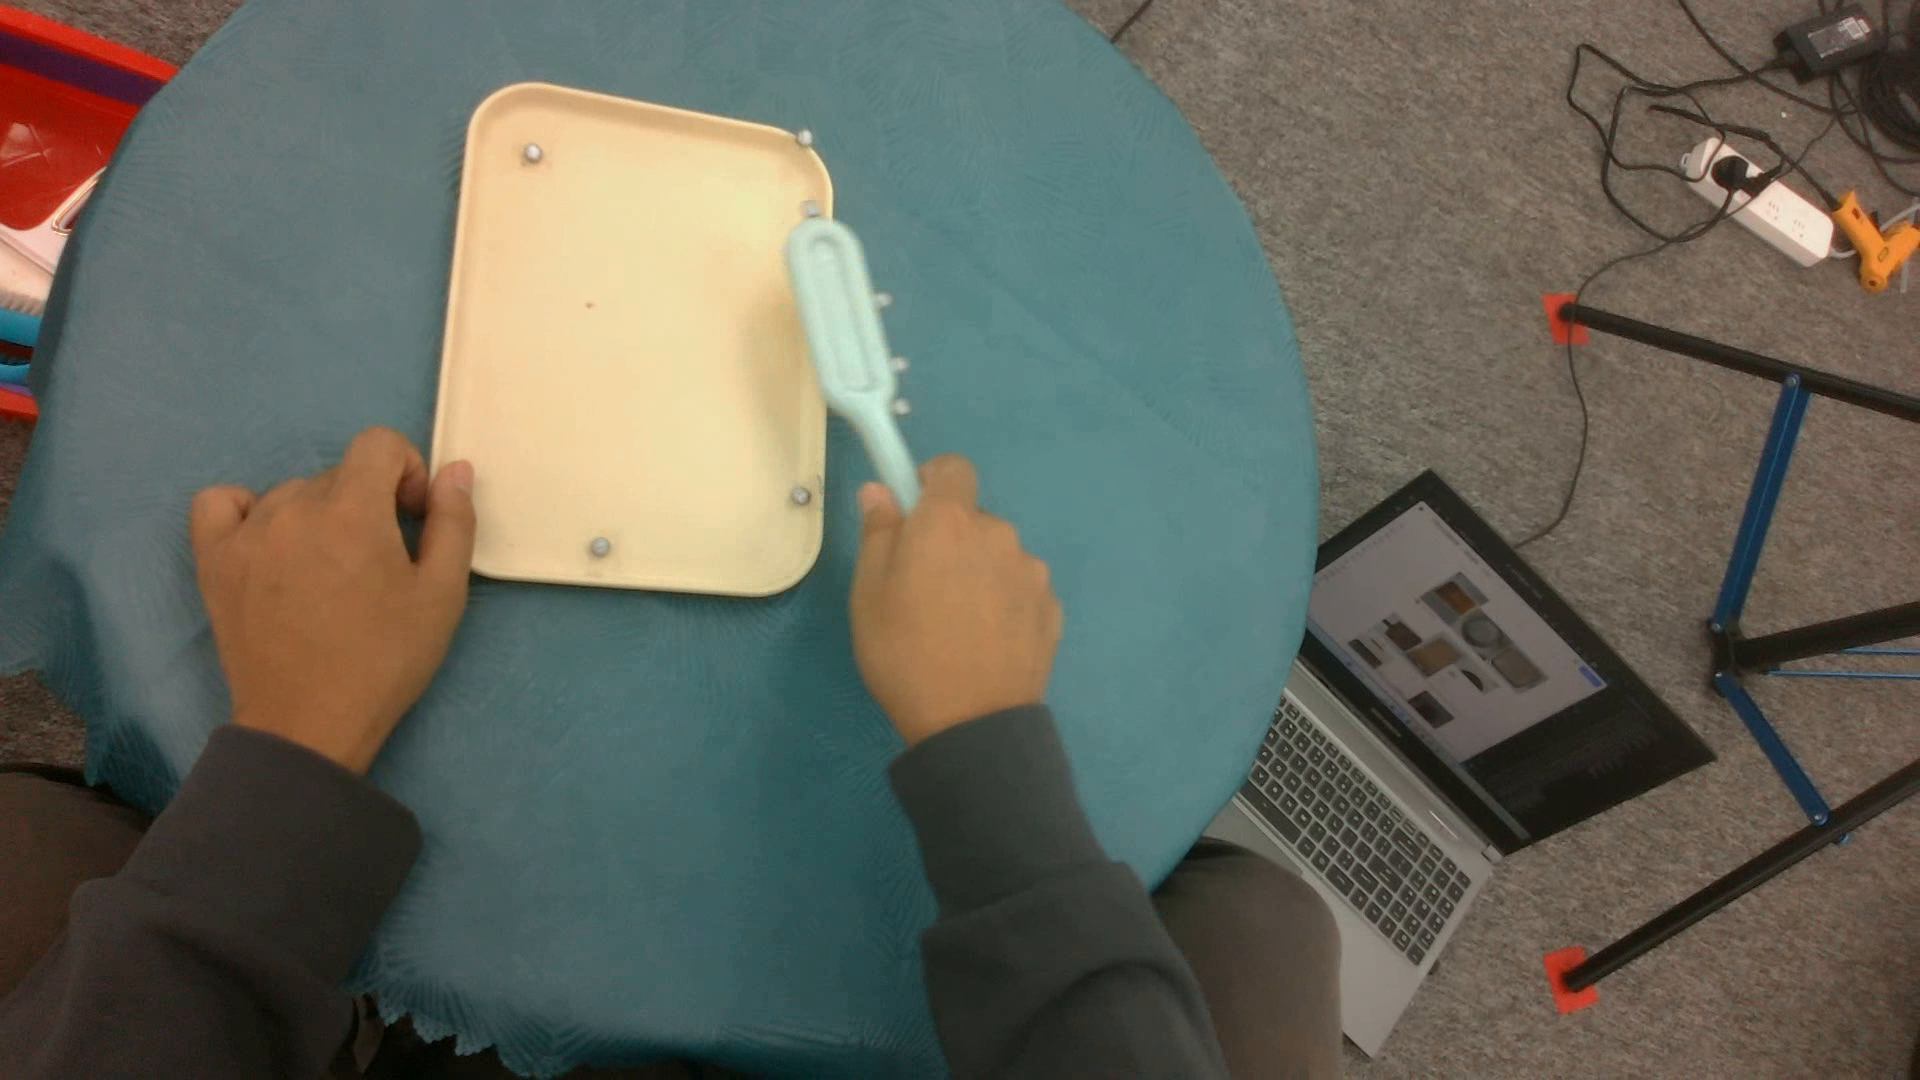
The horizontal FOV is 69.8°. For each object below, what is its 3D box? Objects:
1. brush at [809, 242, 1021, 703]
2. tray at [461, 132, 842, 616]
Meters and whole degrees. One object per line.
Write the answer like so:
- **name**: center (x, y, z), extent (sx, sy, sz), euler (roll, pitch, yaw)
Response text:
- **brush**: center (-0.021, -0.032, 0.631), extent (0.038, 0.049, 0.229), euler (-16, 70, -20)
- **tray**: center (-0.143, -0.080, 0.656), extent (0.171, 0.017, 0.240), euler (2, 73, -17)
